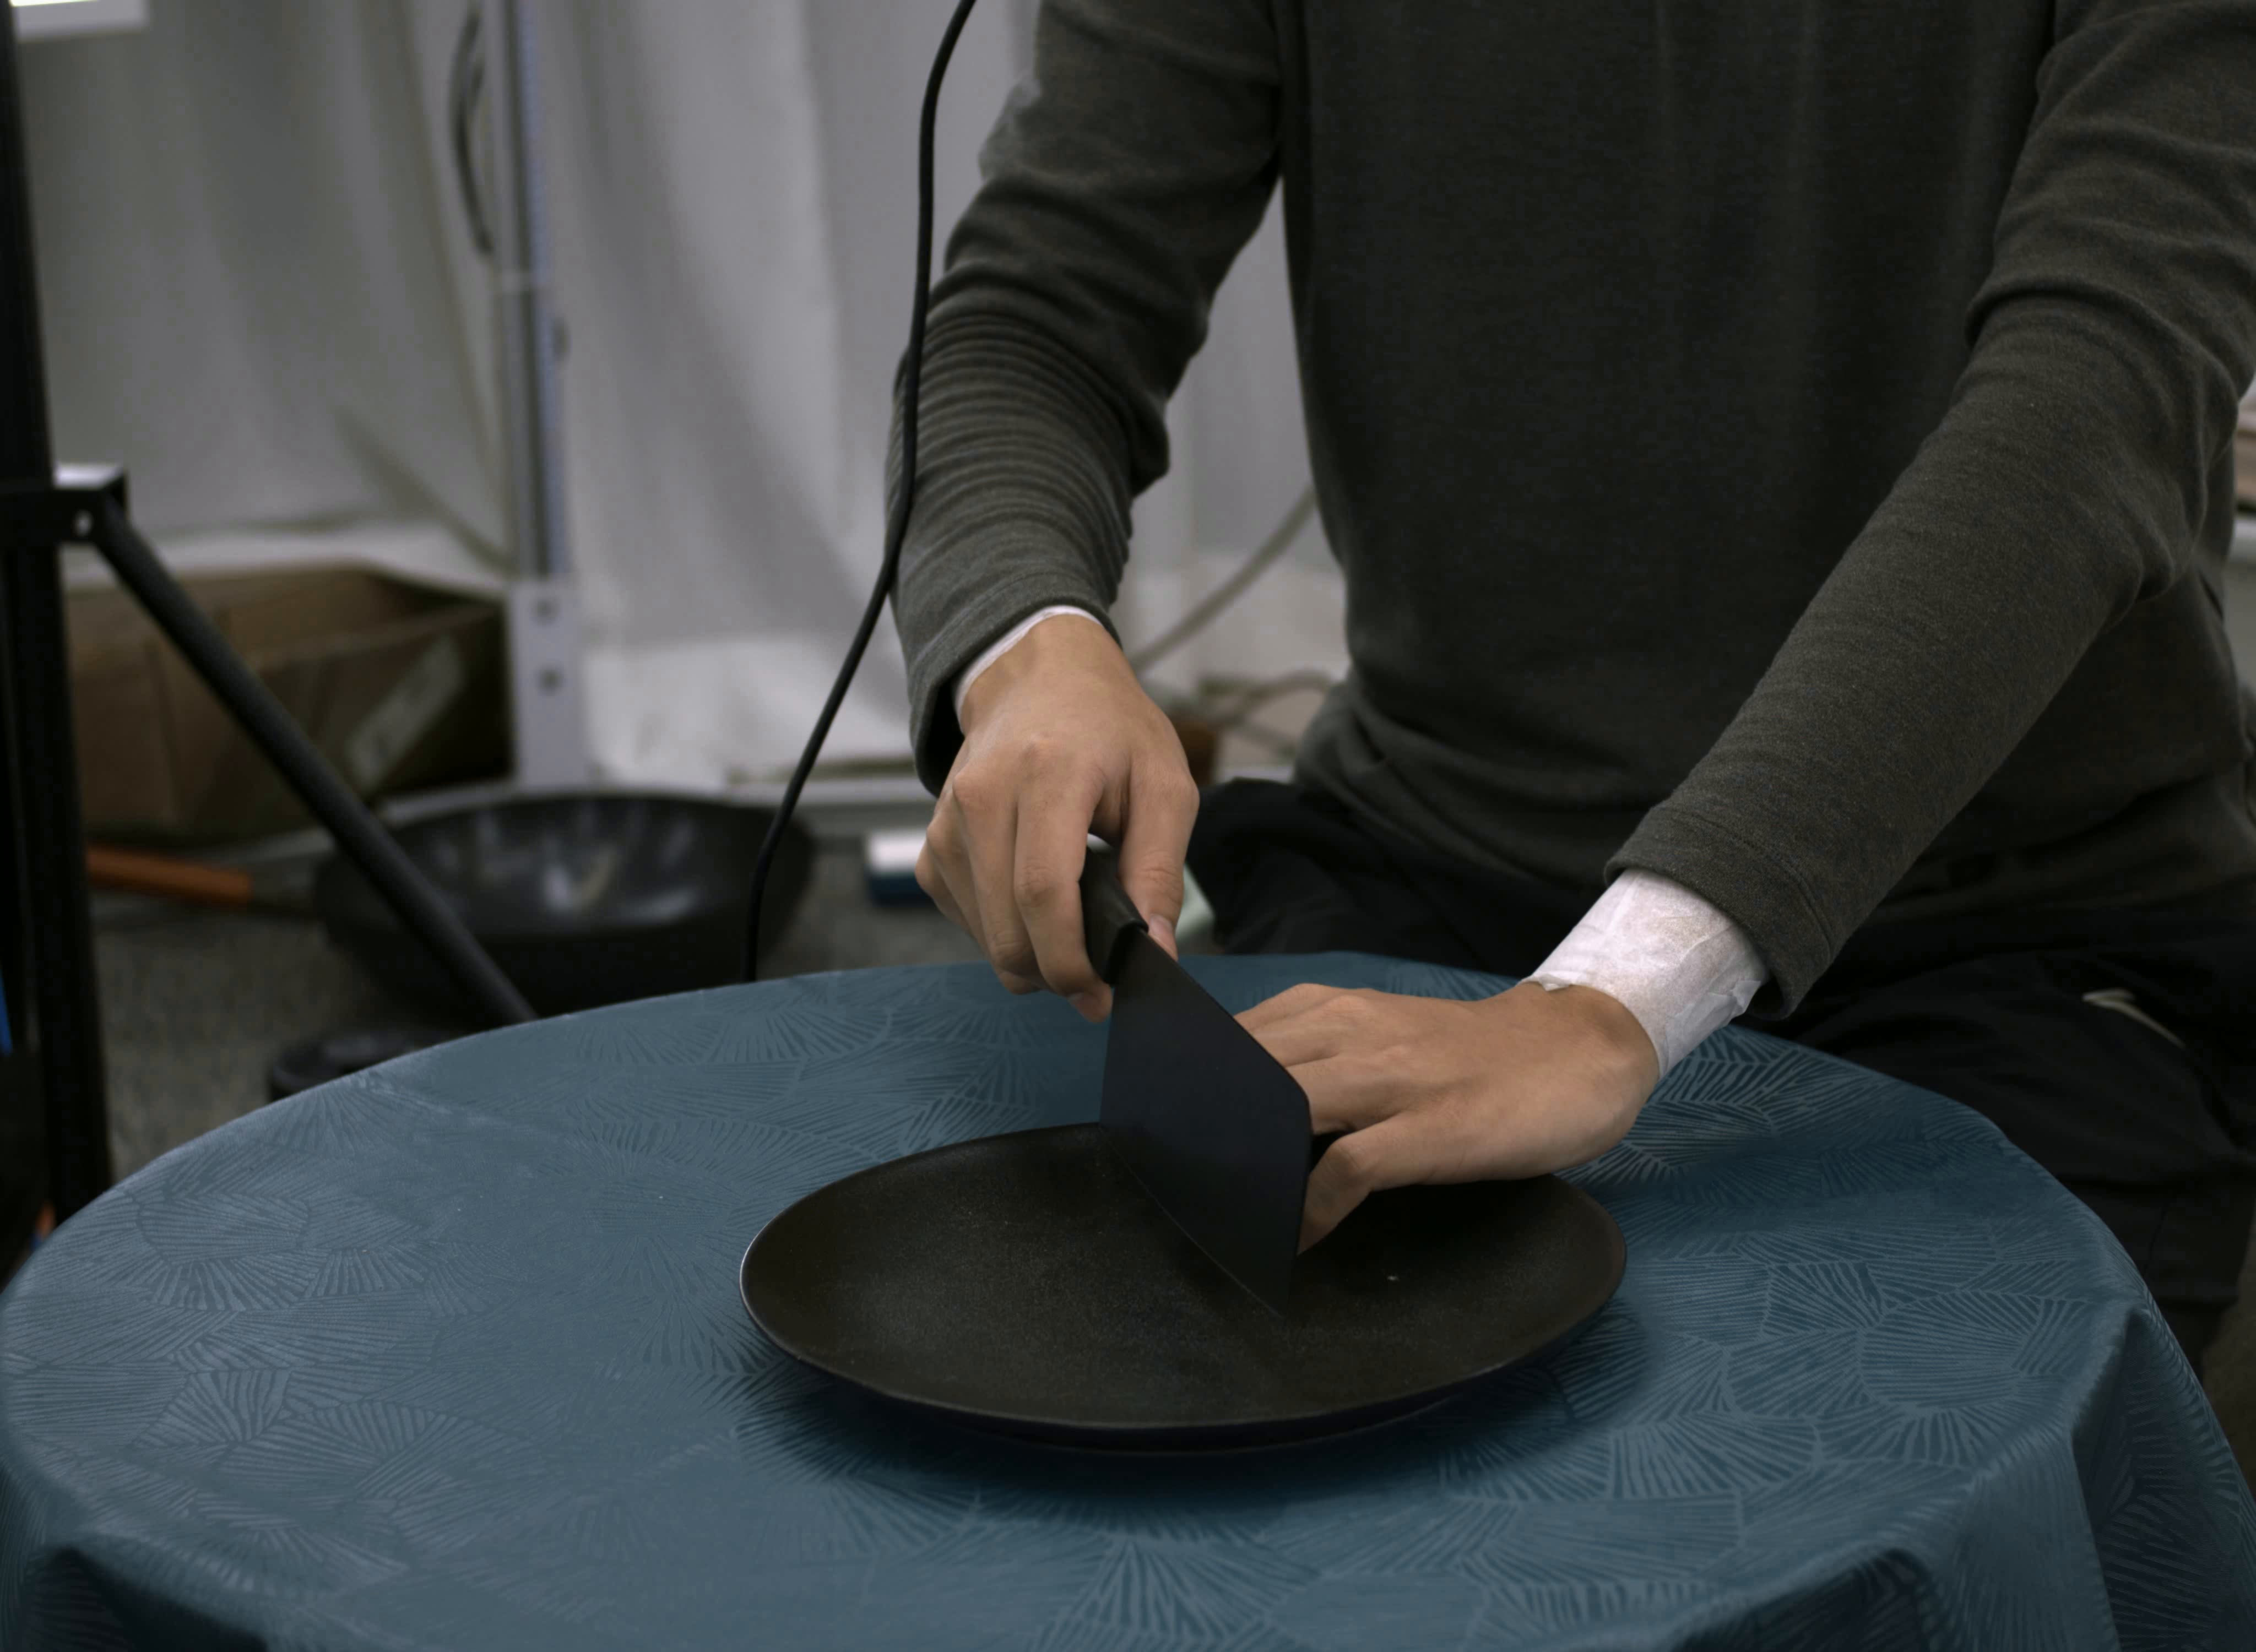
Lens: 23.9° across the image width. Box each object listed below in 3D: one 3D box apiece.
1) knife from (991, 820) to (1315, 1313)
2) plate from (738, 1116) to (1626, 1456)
[{"bbox_3d":[0.005,0.060,1.516,0.020,0.081,0.307,5,17,-17],"label":"knife"},{"bbox_3d":[0.015,0.127,1.449,0.243,0.023,0.245,-3,16,-1],"label":"plate"}]
